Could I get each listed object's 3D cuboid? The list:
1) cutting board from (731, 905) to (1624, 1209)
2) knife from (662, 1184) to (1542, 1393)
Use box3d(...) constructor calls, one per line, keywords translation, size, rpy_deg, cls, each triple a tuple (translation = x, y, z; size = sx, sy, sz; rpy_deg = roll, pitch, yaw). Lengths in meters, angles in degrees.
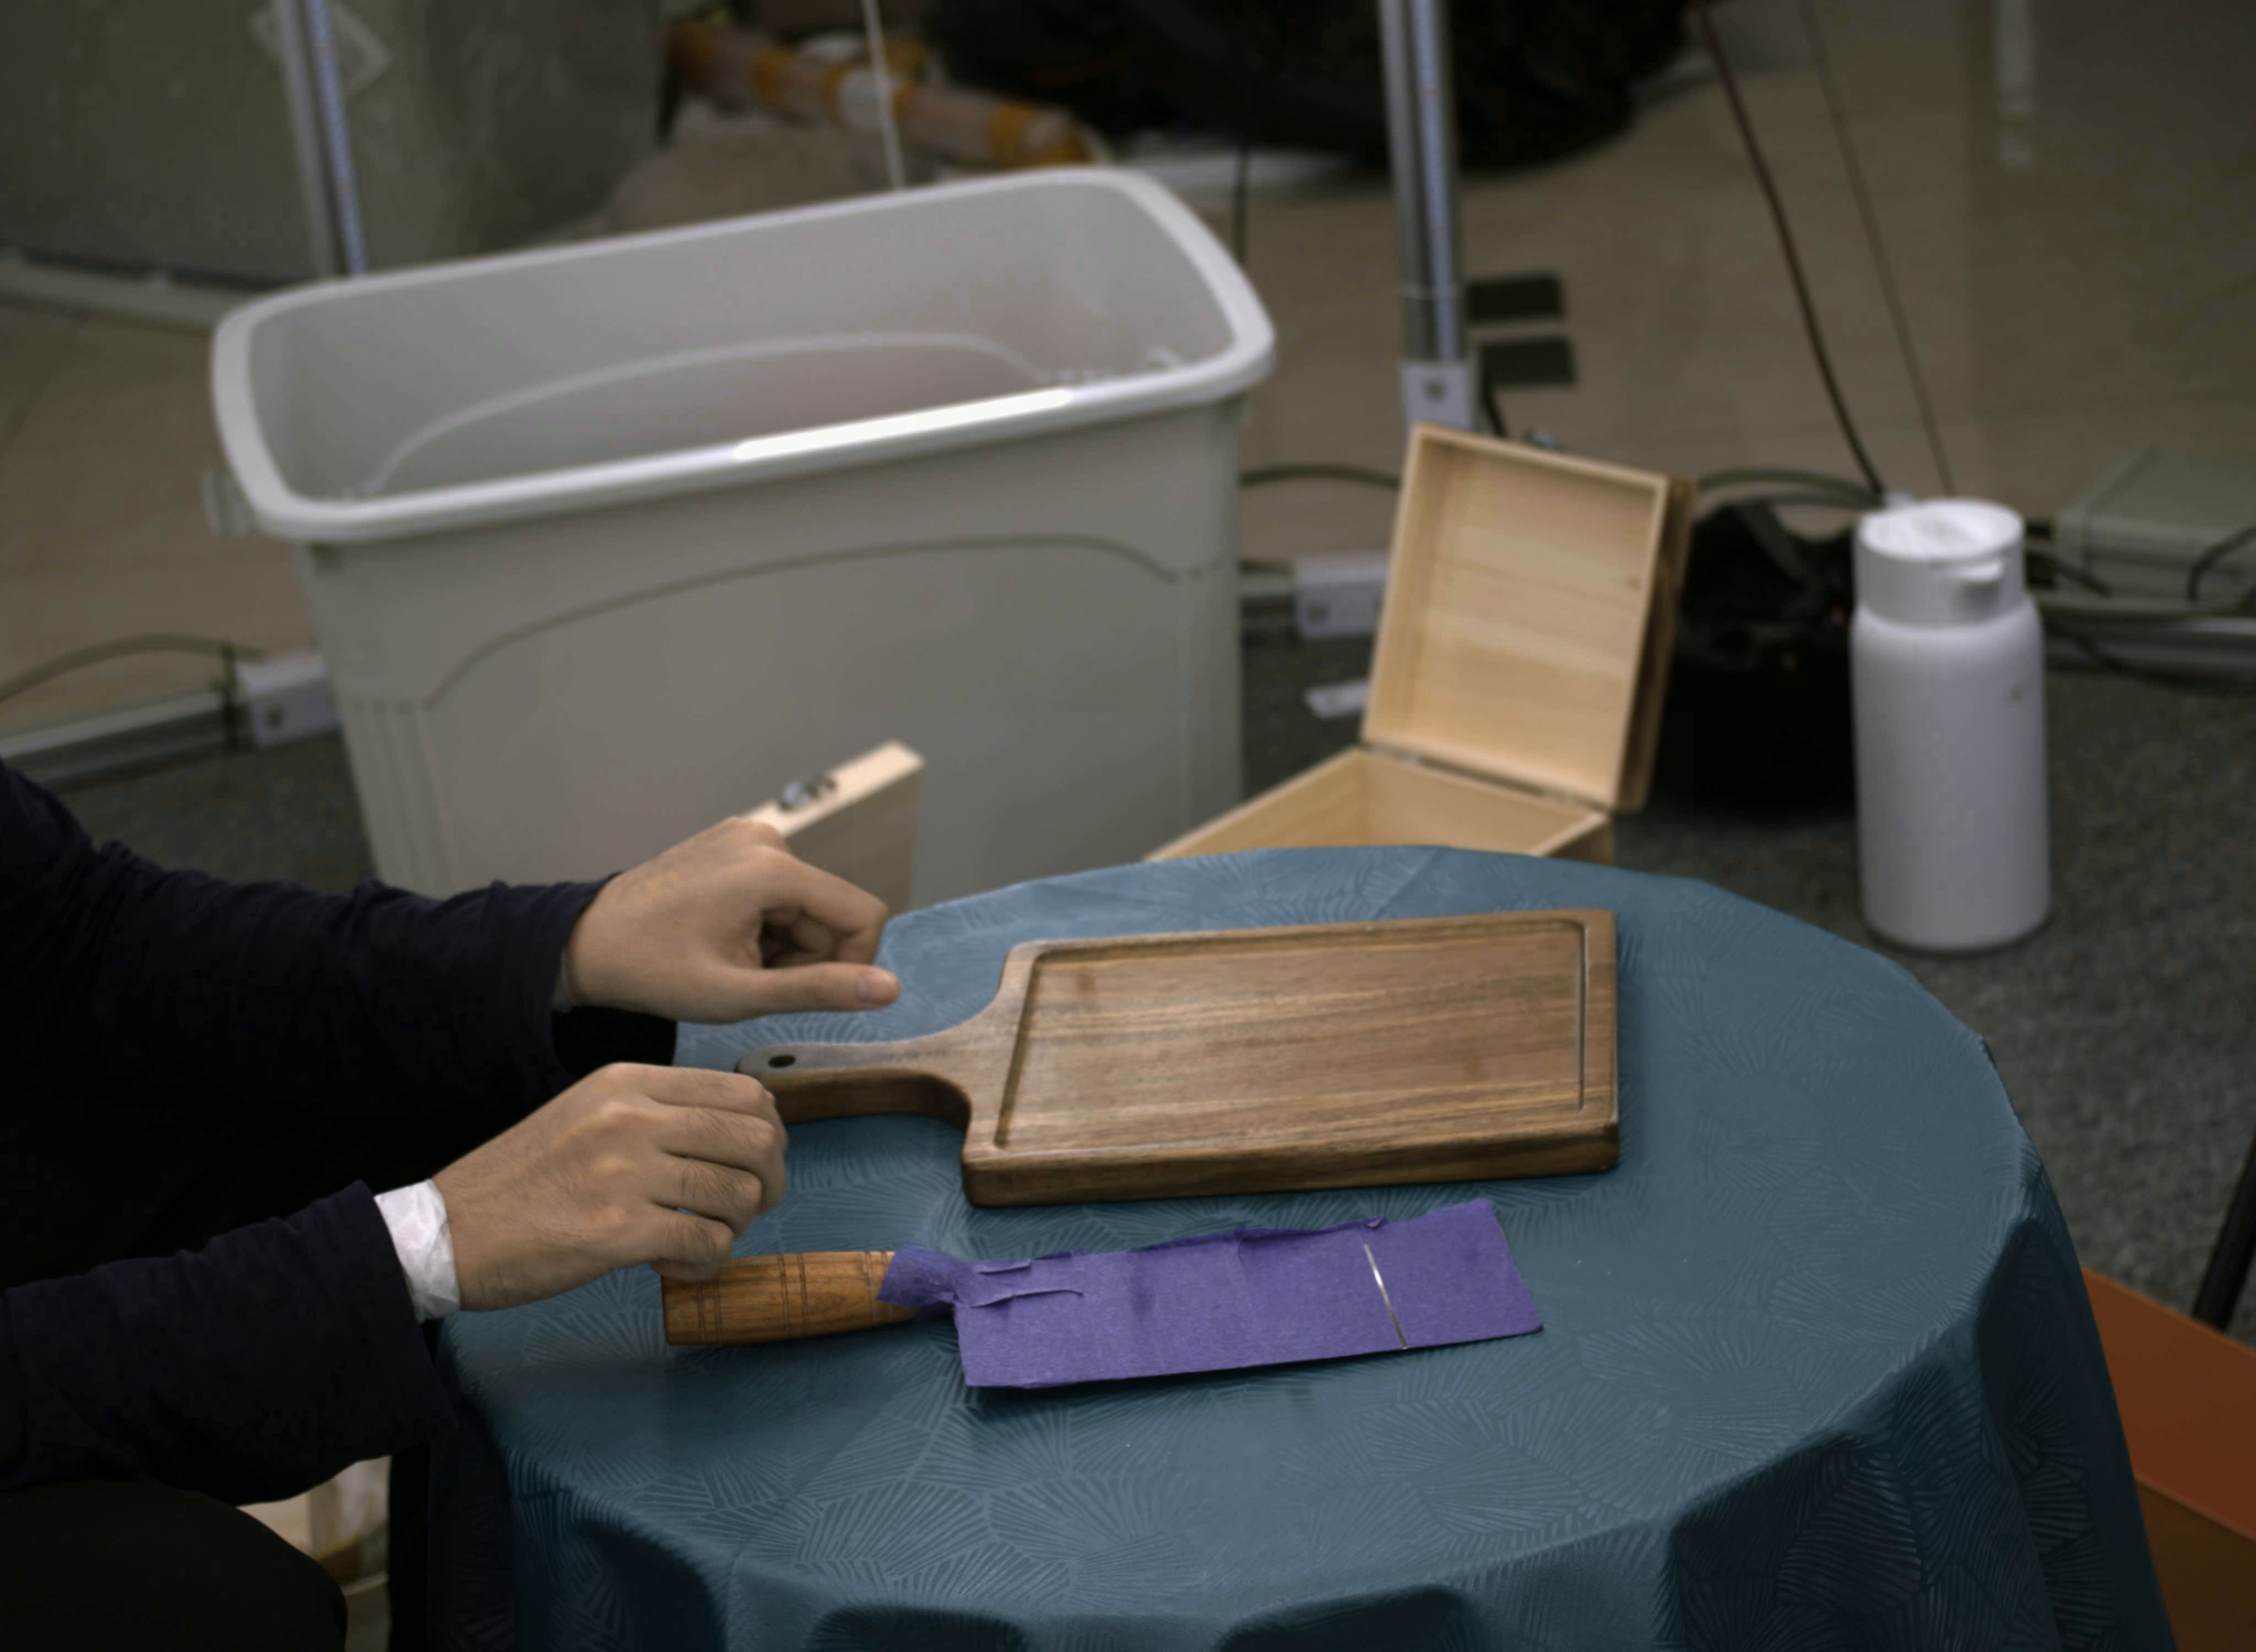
box3d(translation=(0.018, 0.091, 2.225), size=(0.351, 0.023, 0.198), rpy_deg=(-4, 25, 7), cls="cutting board")
box3d(translation=(-0.011, 0.172, 2.051), size=(0.314, 0.033, 0.102), rpy_deg=(-8, 25, -4), cls="knife")
